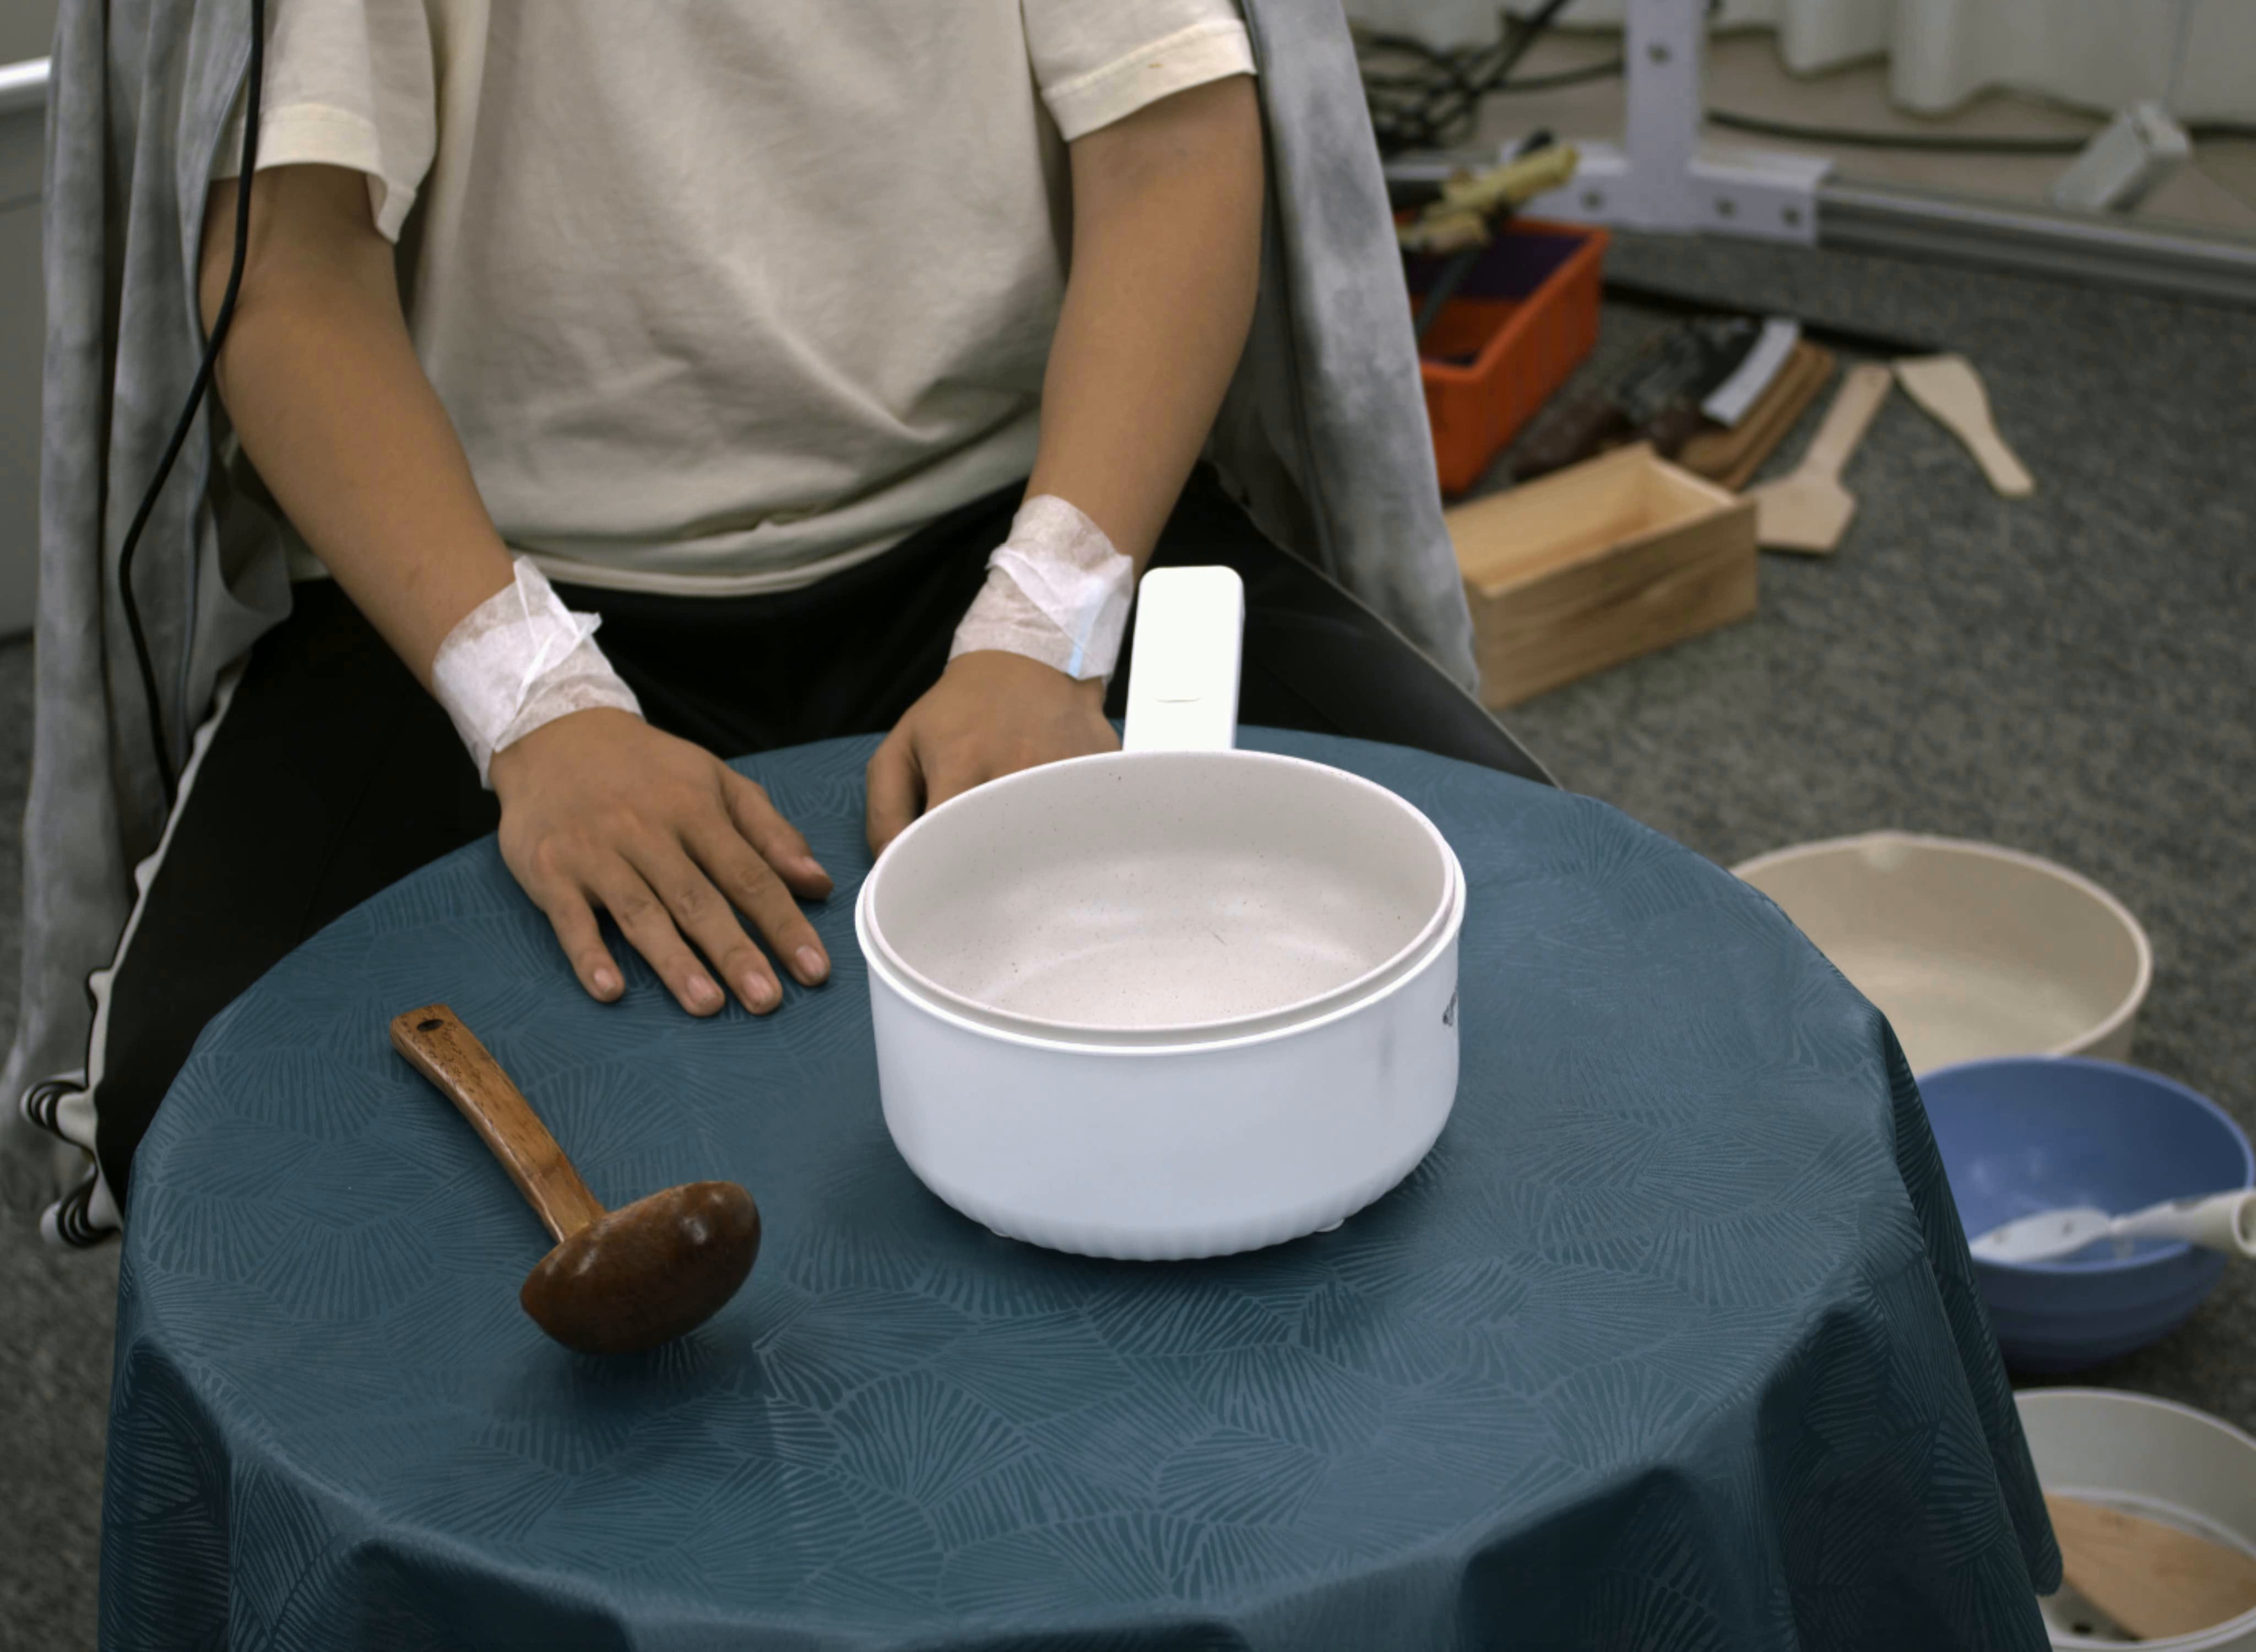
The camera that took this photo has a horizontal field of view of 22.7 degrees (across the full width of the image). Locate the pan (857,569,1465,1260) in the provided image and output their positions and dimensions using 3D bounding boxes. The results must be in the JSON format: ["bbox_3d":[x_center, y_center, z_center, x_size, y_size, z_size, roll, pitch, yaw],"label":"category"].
[{"bbox_3d":[0.018,0.027,1.935,0.200,0.101,0.360,-2,26,5],"label":"pan"}]

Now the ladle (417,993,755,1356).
[{"bbox_3d":[-0.195,0.095,1.846,0.082,0.076,0.276,-13,30,-18],"label":"ladle"}]
